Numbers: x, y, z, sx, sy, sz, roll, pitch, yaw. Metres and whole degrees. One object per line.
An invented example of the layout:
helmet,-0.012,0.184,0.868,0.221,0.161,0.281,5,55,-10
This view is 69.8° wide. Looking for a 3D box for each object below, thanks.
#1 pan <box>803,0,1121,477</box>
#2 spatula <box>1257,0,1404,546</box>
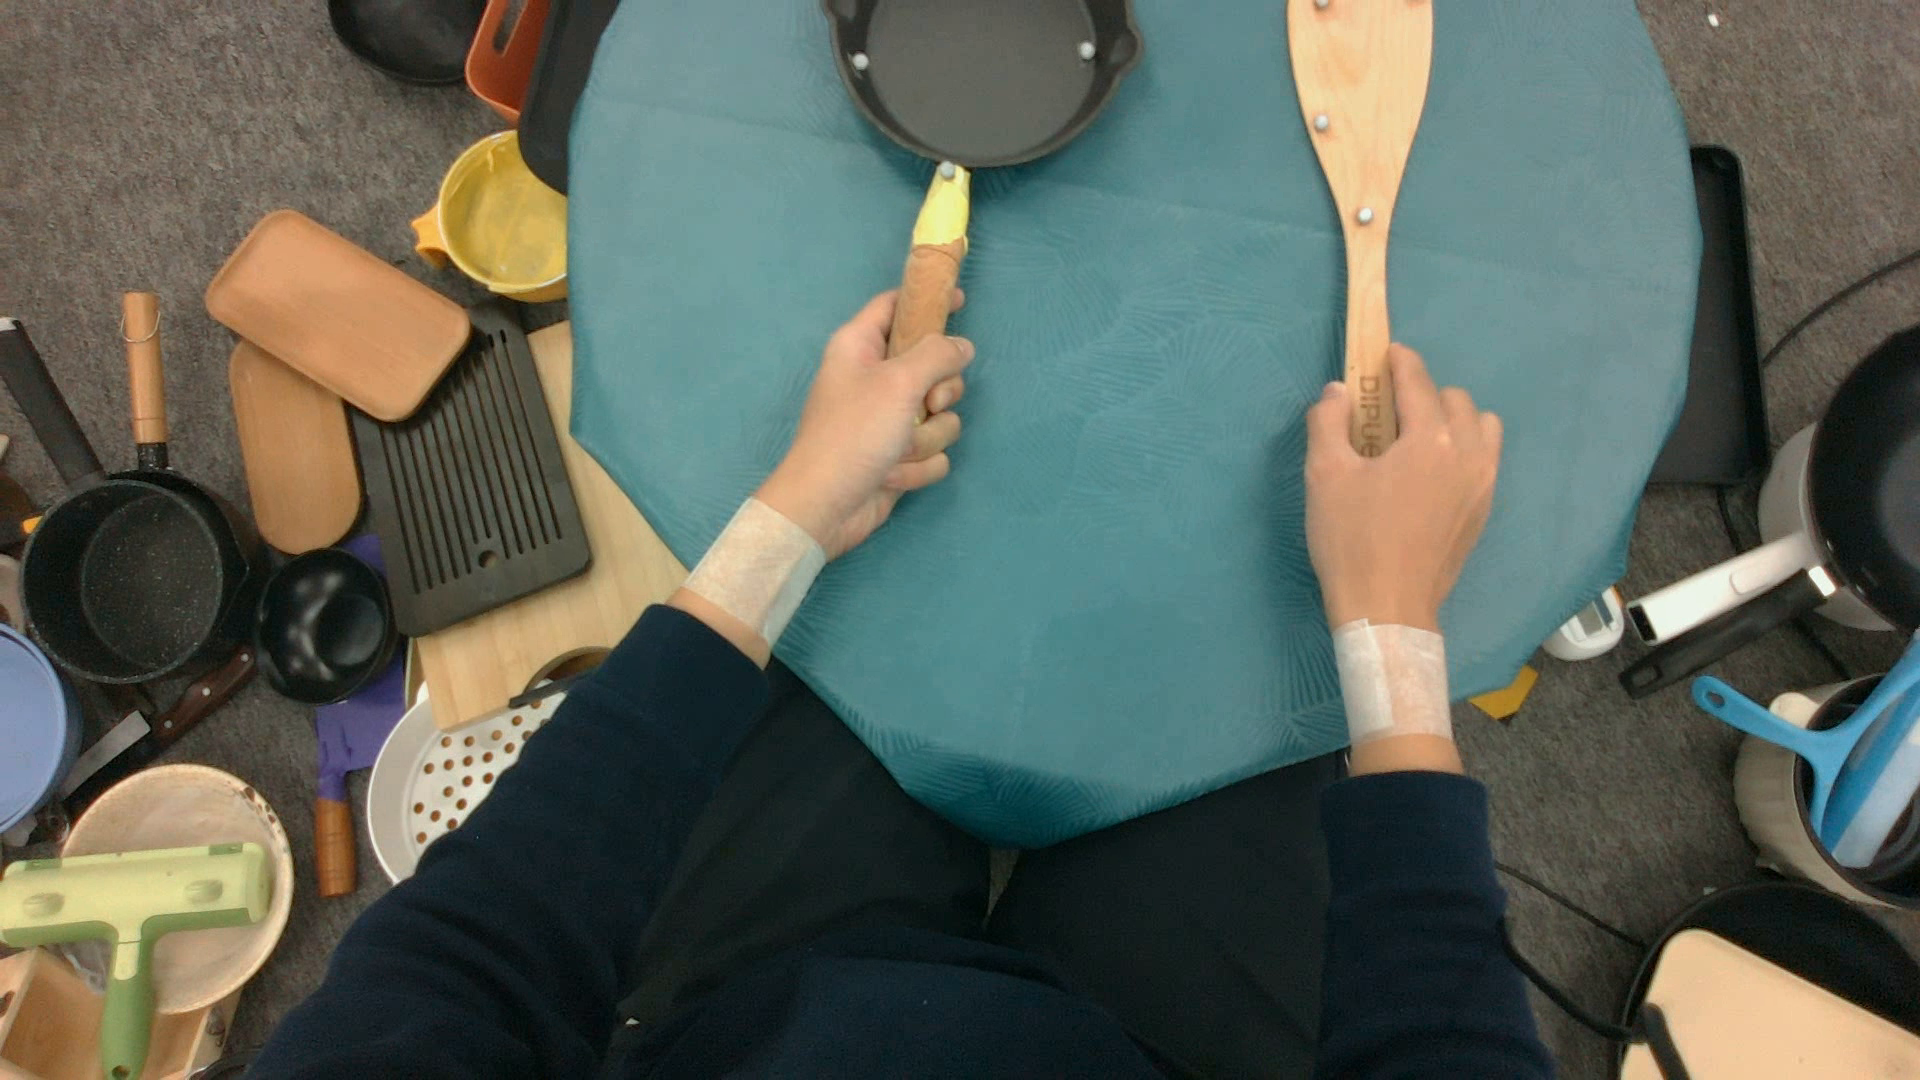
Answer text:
pan,-0.016,-0.186,0.709,0.169,0.049,0.325,11,79,2
spatula,0.197,-0.157,0.716,0.080,0.016,0.328,2,74,2
